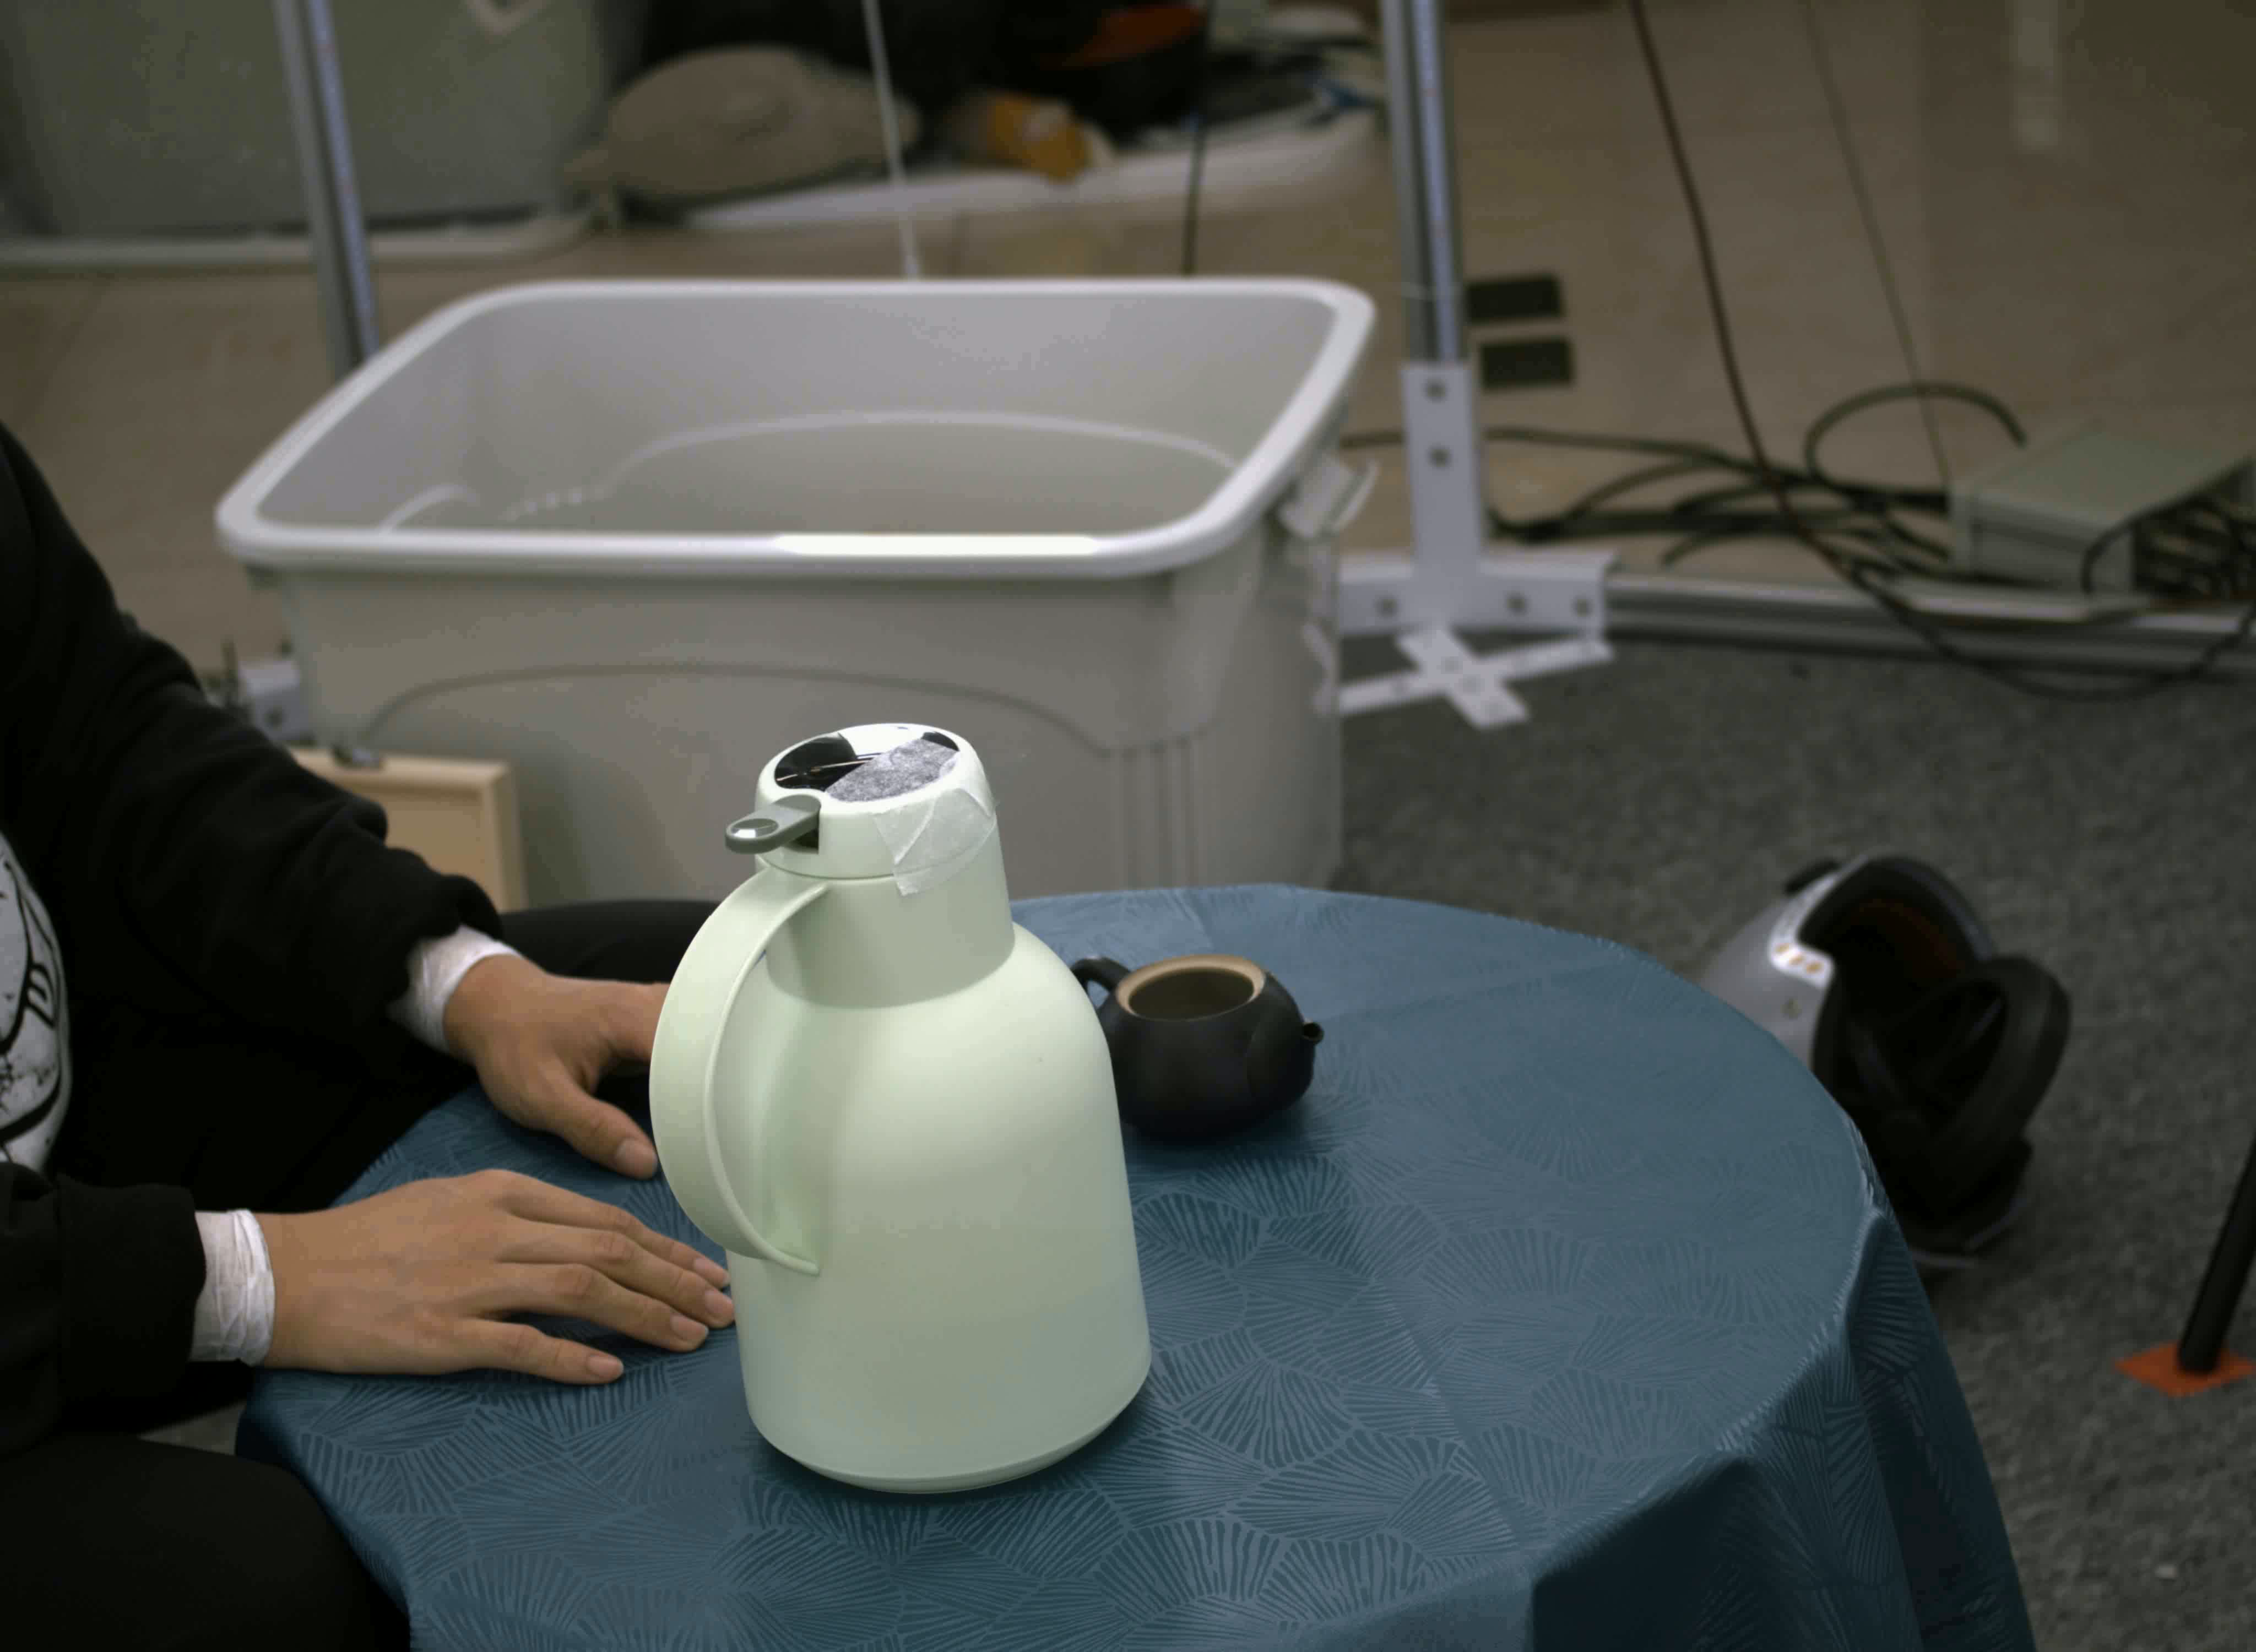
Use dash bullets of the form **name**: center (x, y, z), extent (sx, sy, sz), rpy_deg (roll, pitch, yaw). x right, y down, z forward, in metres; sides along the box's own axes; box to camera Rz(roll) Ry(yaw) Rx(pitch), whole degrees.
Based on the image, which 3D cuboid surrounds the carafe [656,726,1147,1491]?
- **carafe**: center (-0.085, 0.099, 1.956), extent (0.143, 0.261, 0.185), rpy_deg (15, 36, 35)

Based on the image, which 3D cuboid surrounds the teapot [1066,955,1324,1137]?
- **teapot**: center (0.026, 0.085, 2.194), extent (0.132, 0.054, 0.090), rpy_deg (17, 32, 40)
